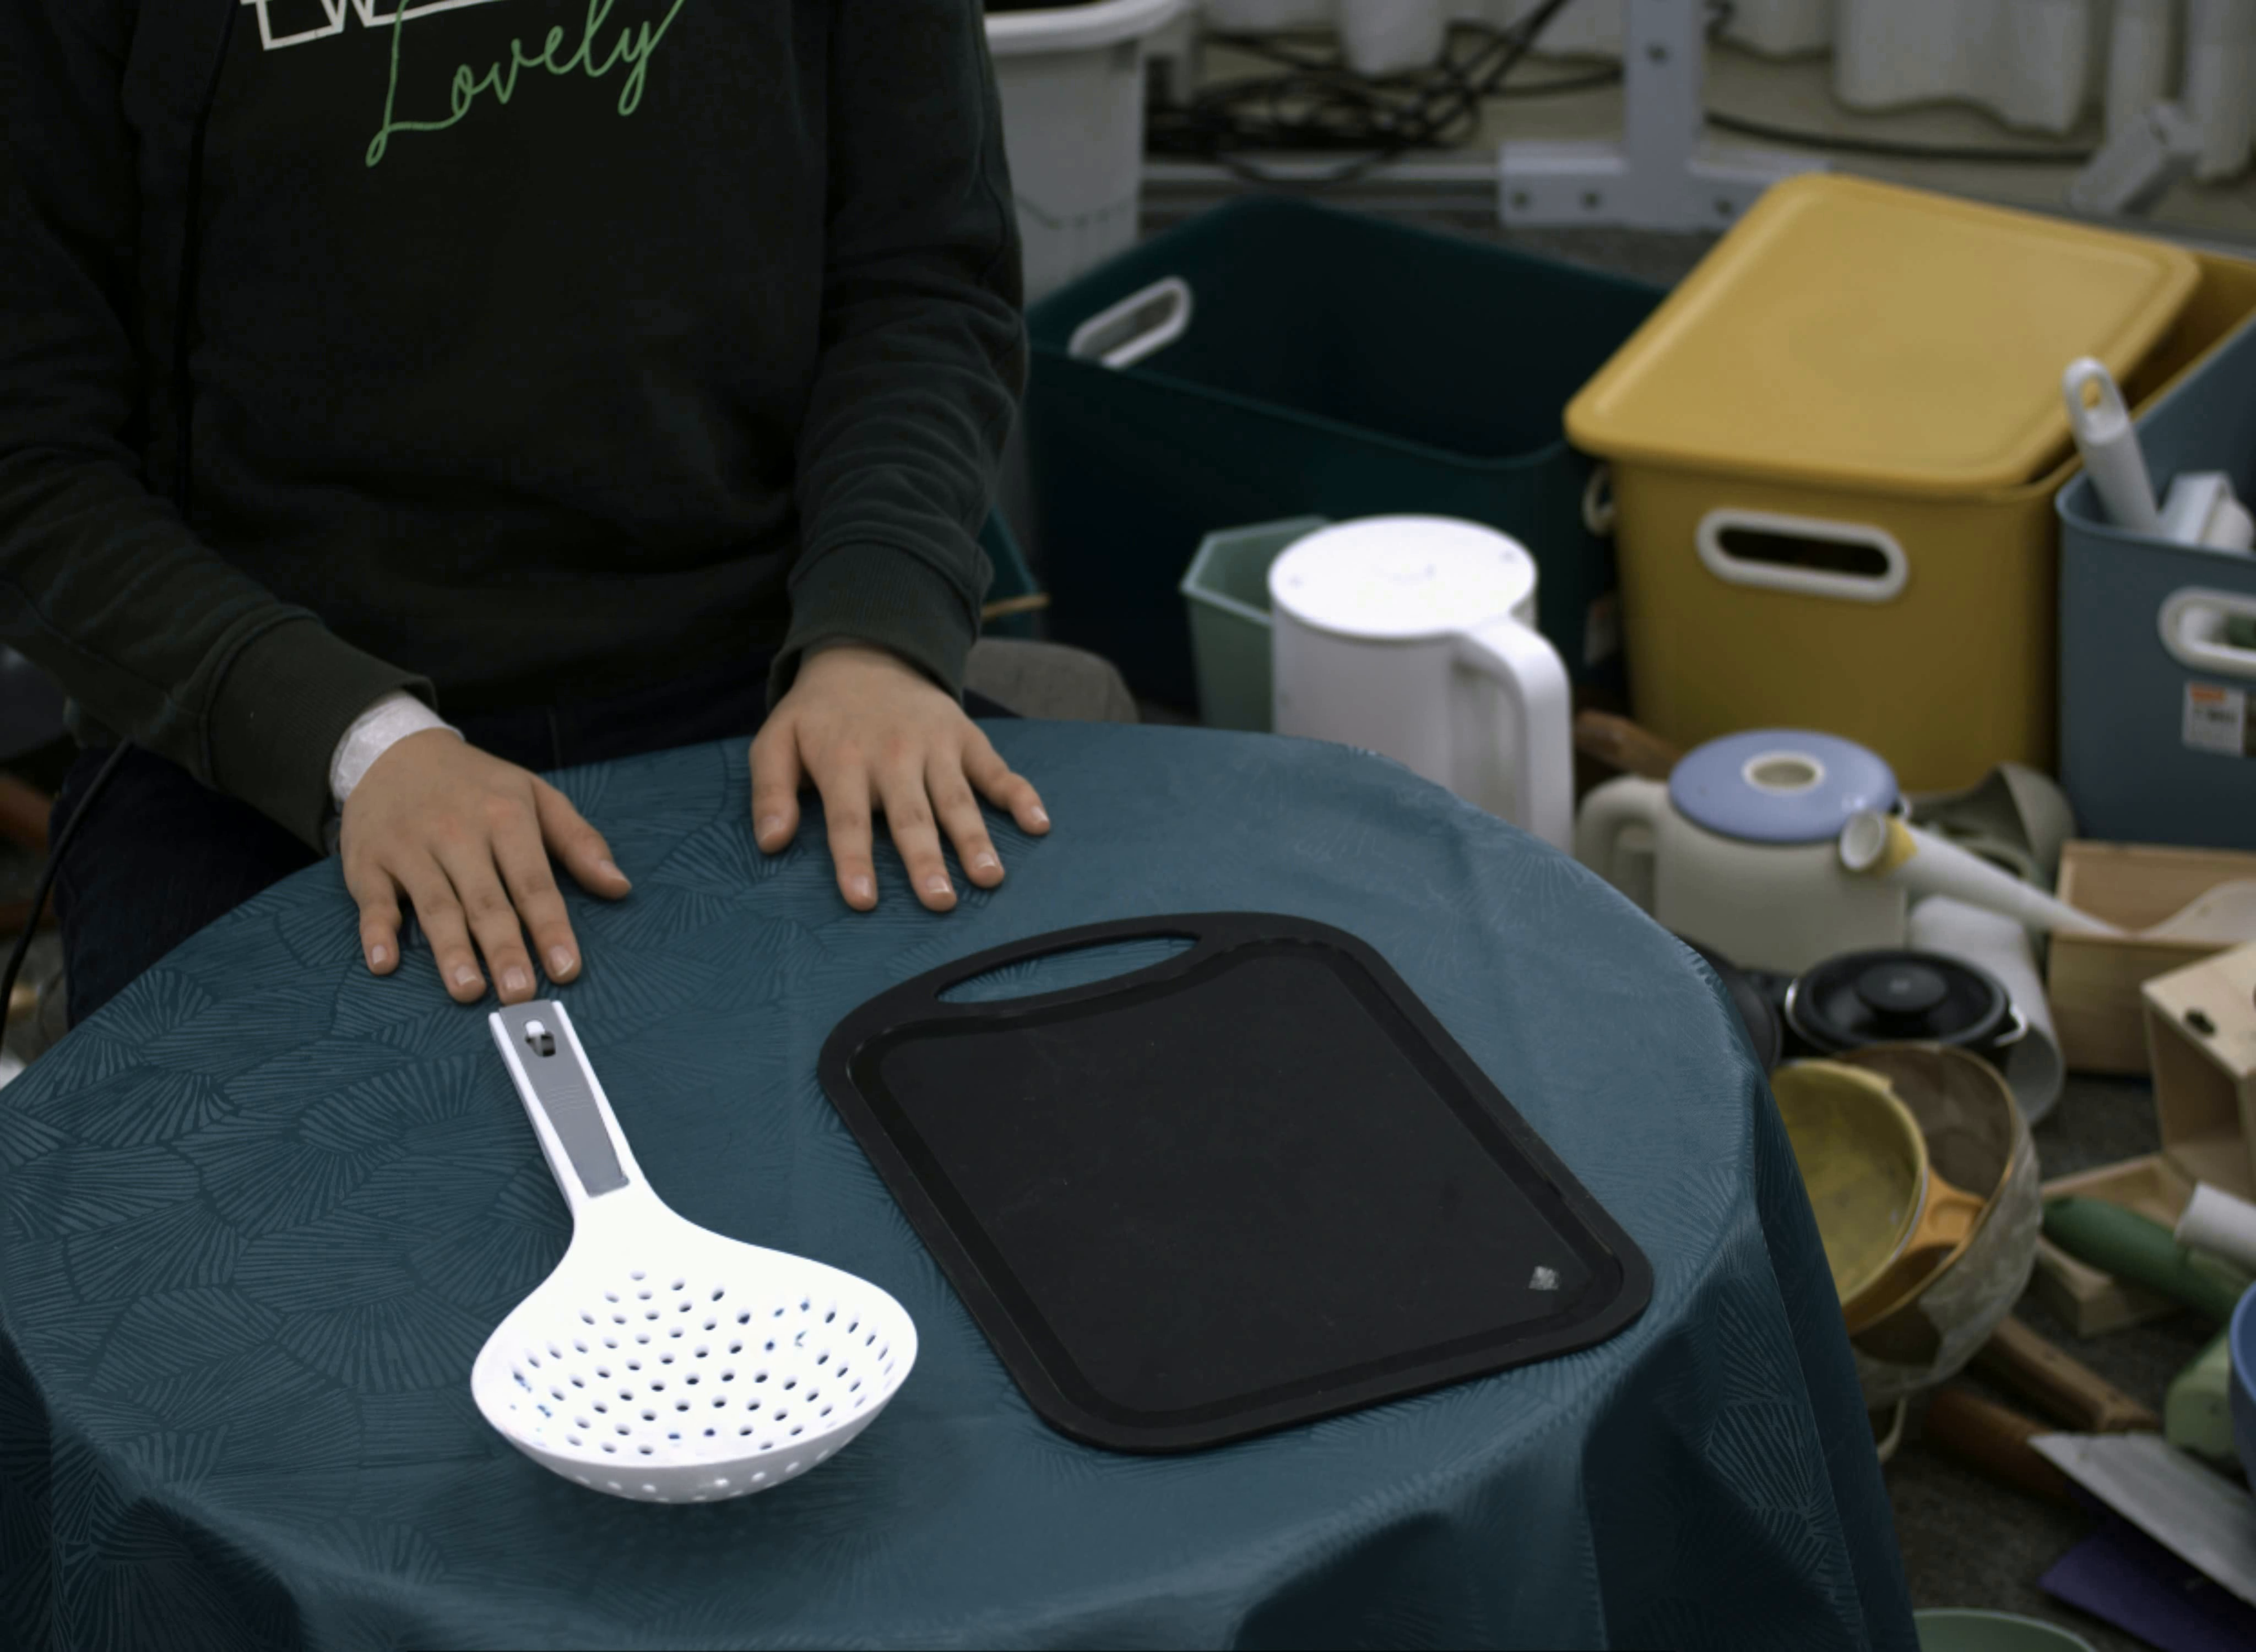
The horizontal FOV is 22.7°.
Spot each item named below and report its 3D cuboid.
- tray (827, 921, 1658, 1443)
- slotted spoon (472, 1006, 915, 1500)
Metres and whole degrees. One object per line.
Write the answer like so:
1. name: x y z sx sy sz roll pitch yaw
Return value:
1. tray: 0.028 0.109 1.876 0.211 0.009 0.328 -12 28 -17
2. slotted spoon: -0.162 0.131 1.810 0.136 0.045 0.353 -8 27 -14
